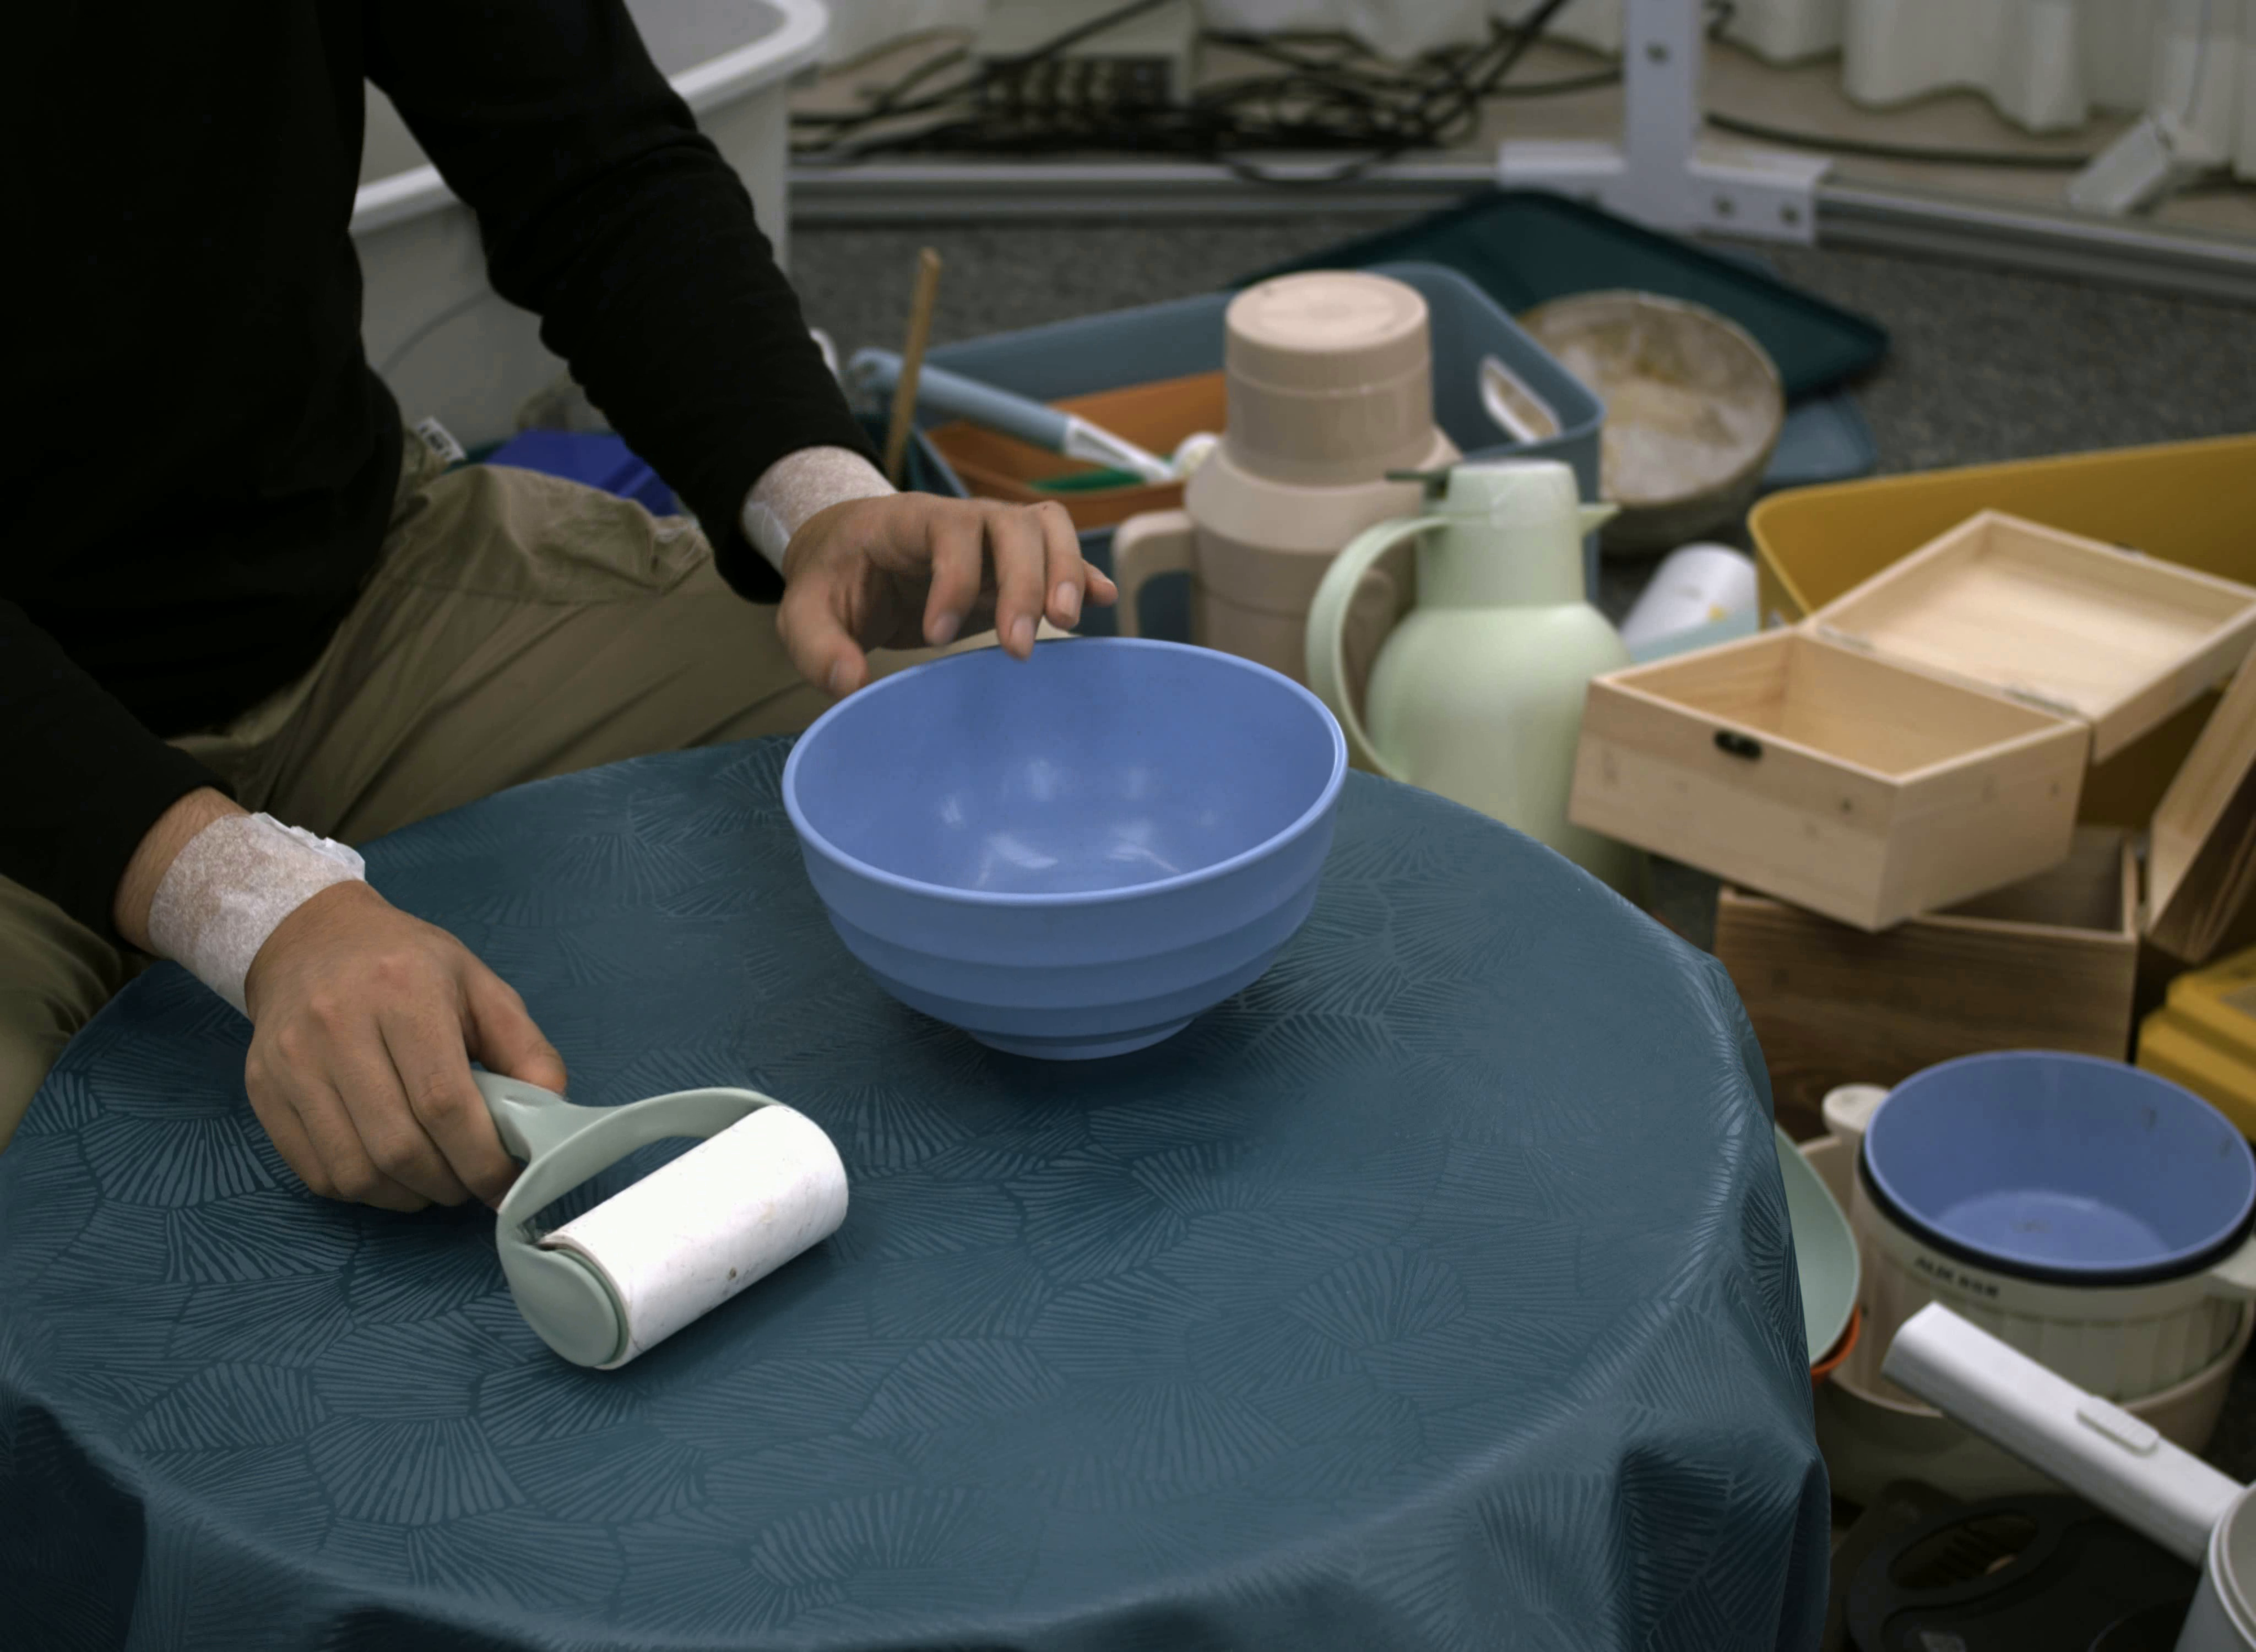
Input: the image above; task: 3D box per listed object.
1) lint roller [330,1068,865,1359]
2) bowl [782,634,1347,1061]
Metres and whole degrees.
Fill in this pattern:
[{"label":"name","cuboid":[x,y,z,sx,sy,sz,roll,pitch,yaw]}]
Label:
[{"label":"lint roller","cuboid":[-0.190,0.108,1.850,0.197,0.048,0.118,21,37,35]},{"label":"bowl","cuboid":[-0.019,0.018,1.959,0.195,0.094,0.199,-3,28,2]}]
